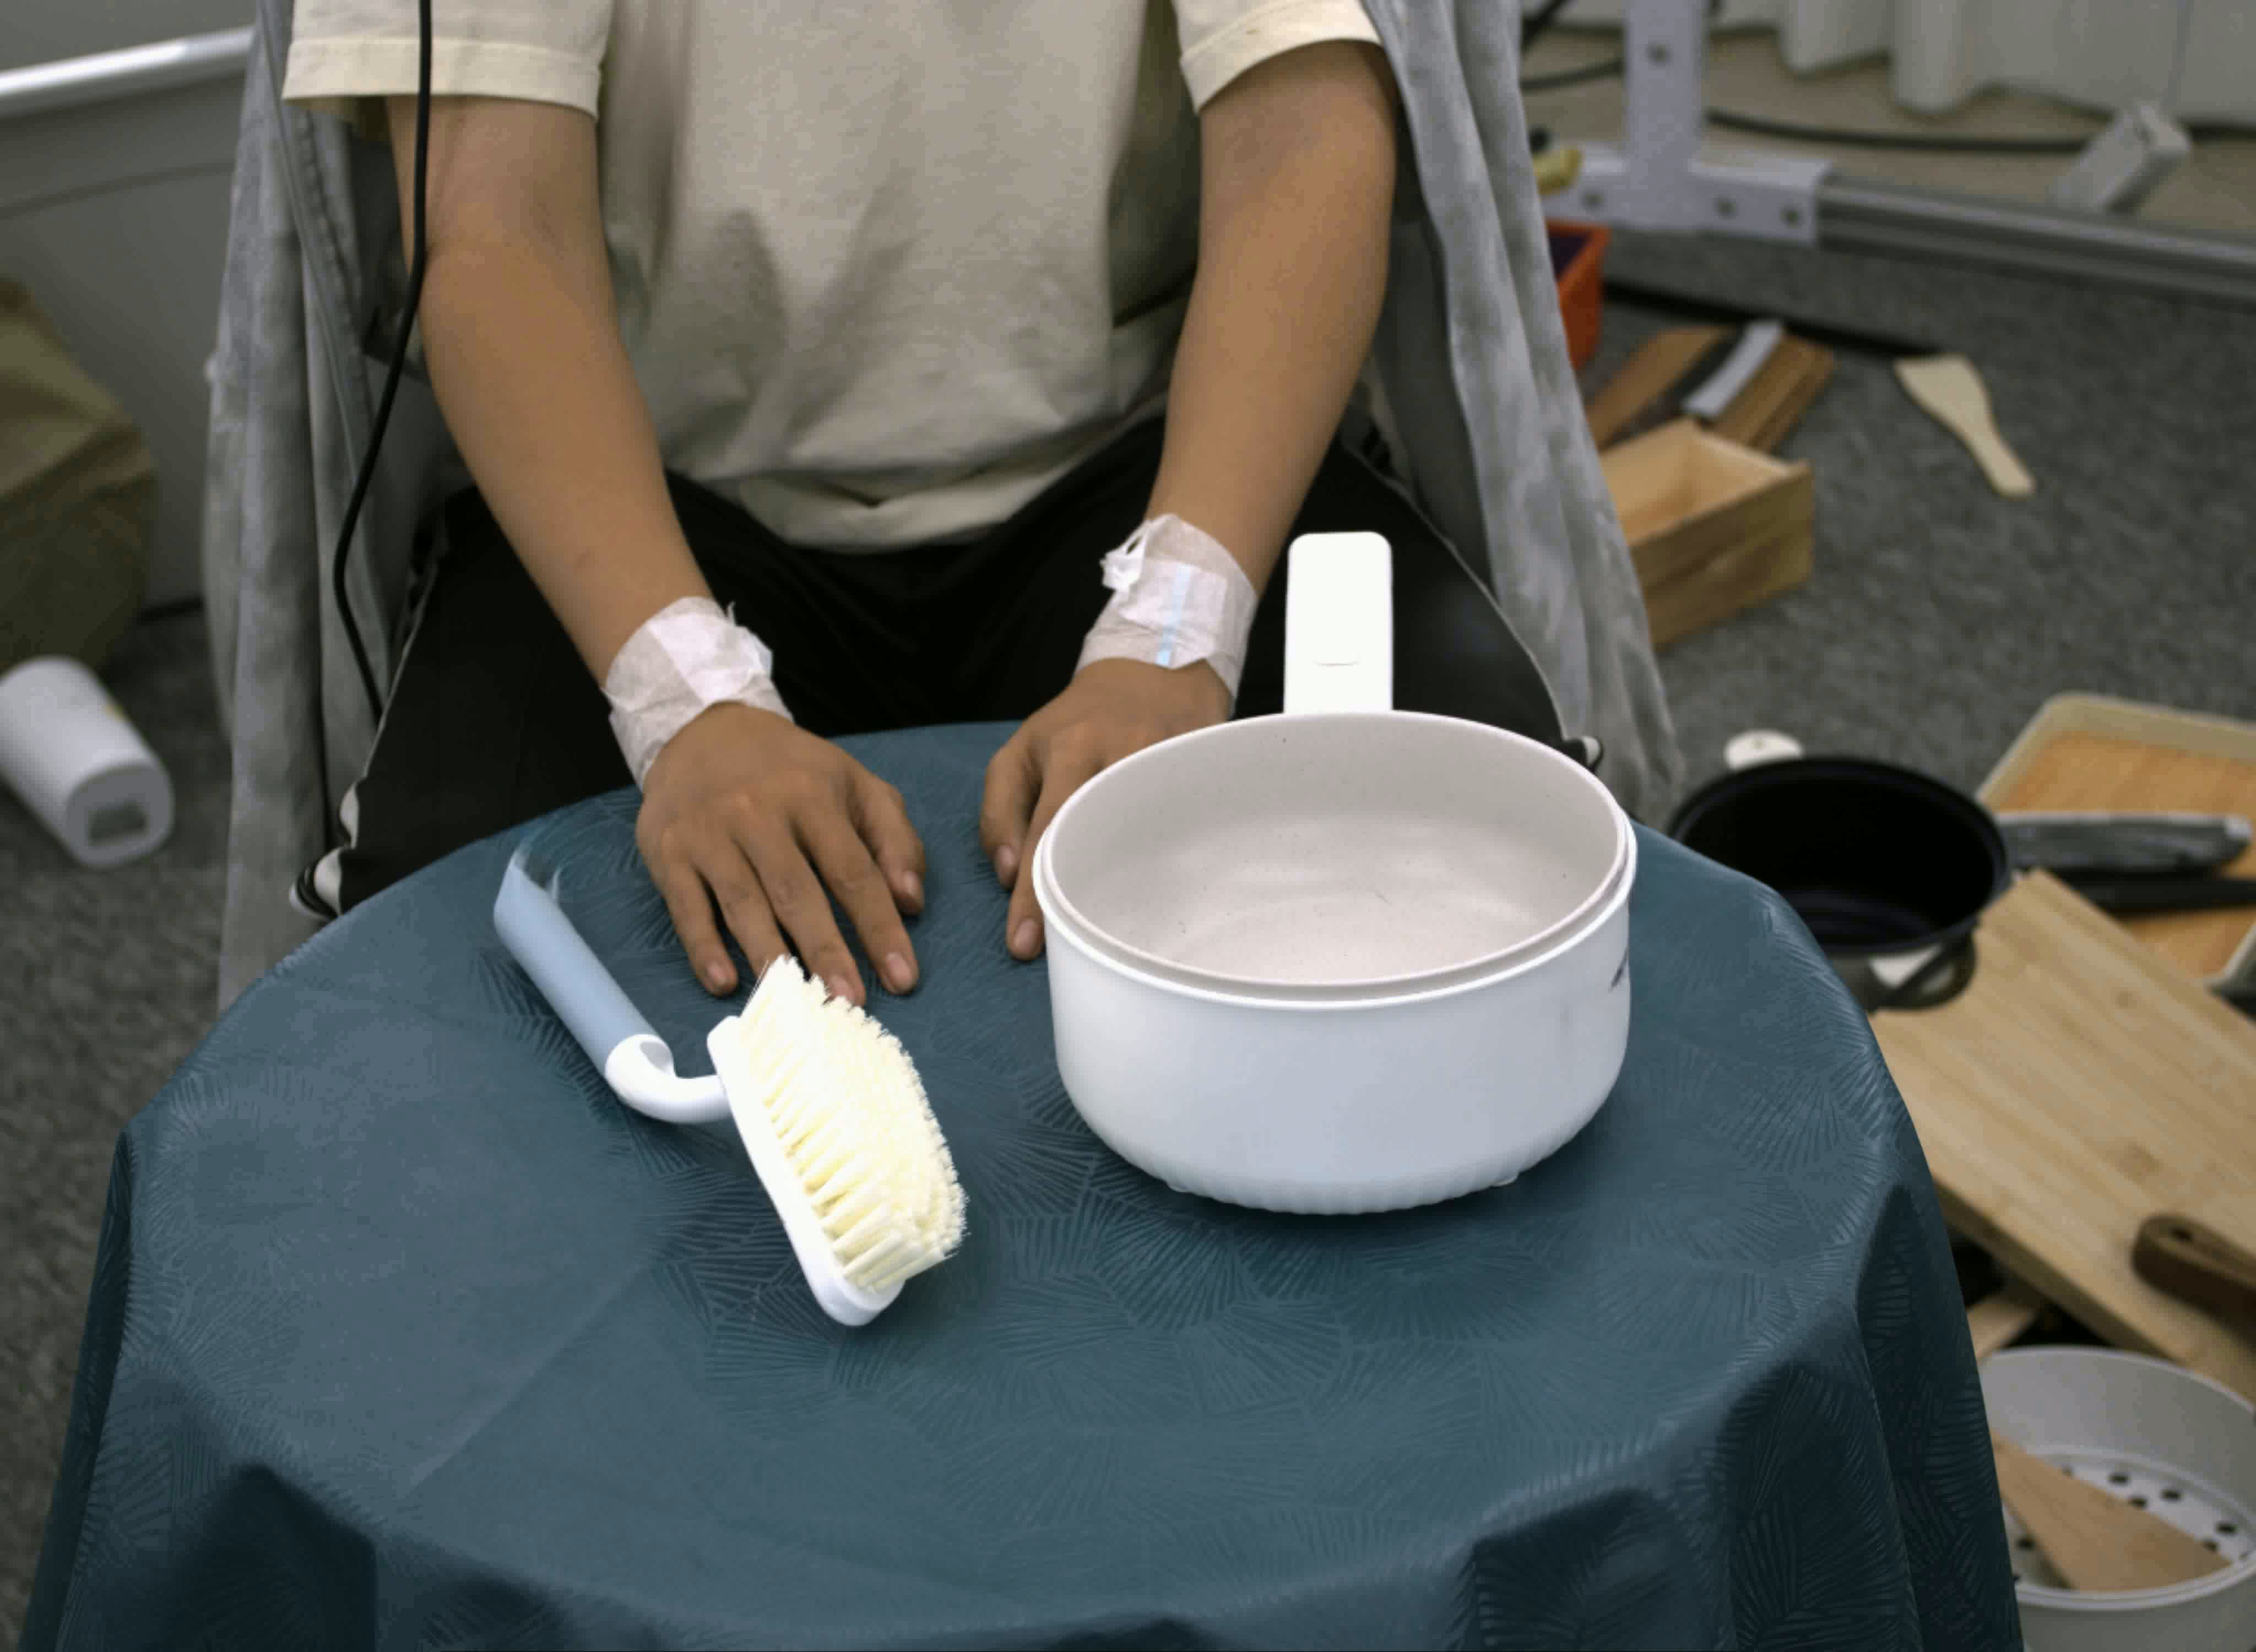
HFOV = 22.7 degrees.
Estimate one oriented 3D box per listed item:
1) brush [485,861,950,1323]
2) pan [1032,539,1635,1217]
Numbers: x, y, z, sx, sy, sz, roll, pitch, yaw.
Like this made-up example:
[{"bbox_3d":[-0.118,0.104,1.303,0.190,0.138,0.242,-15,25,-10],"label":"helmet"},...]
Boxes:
[{"bbox_3d":[-0.138,0.060,1.906,0.085,0.082,0.327,-17,31,-18],"label":"brush"},{"bbox_3d":[0.073,0.015,1.955,0.200,0.101,0.360,-2,26,3],"label":"pan"}]
